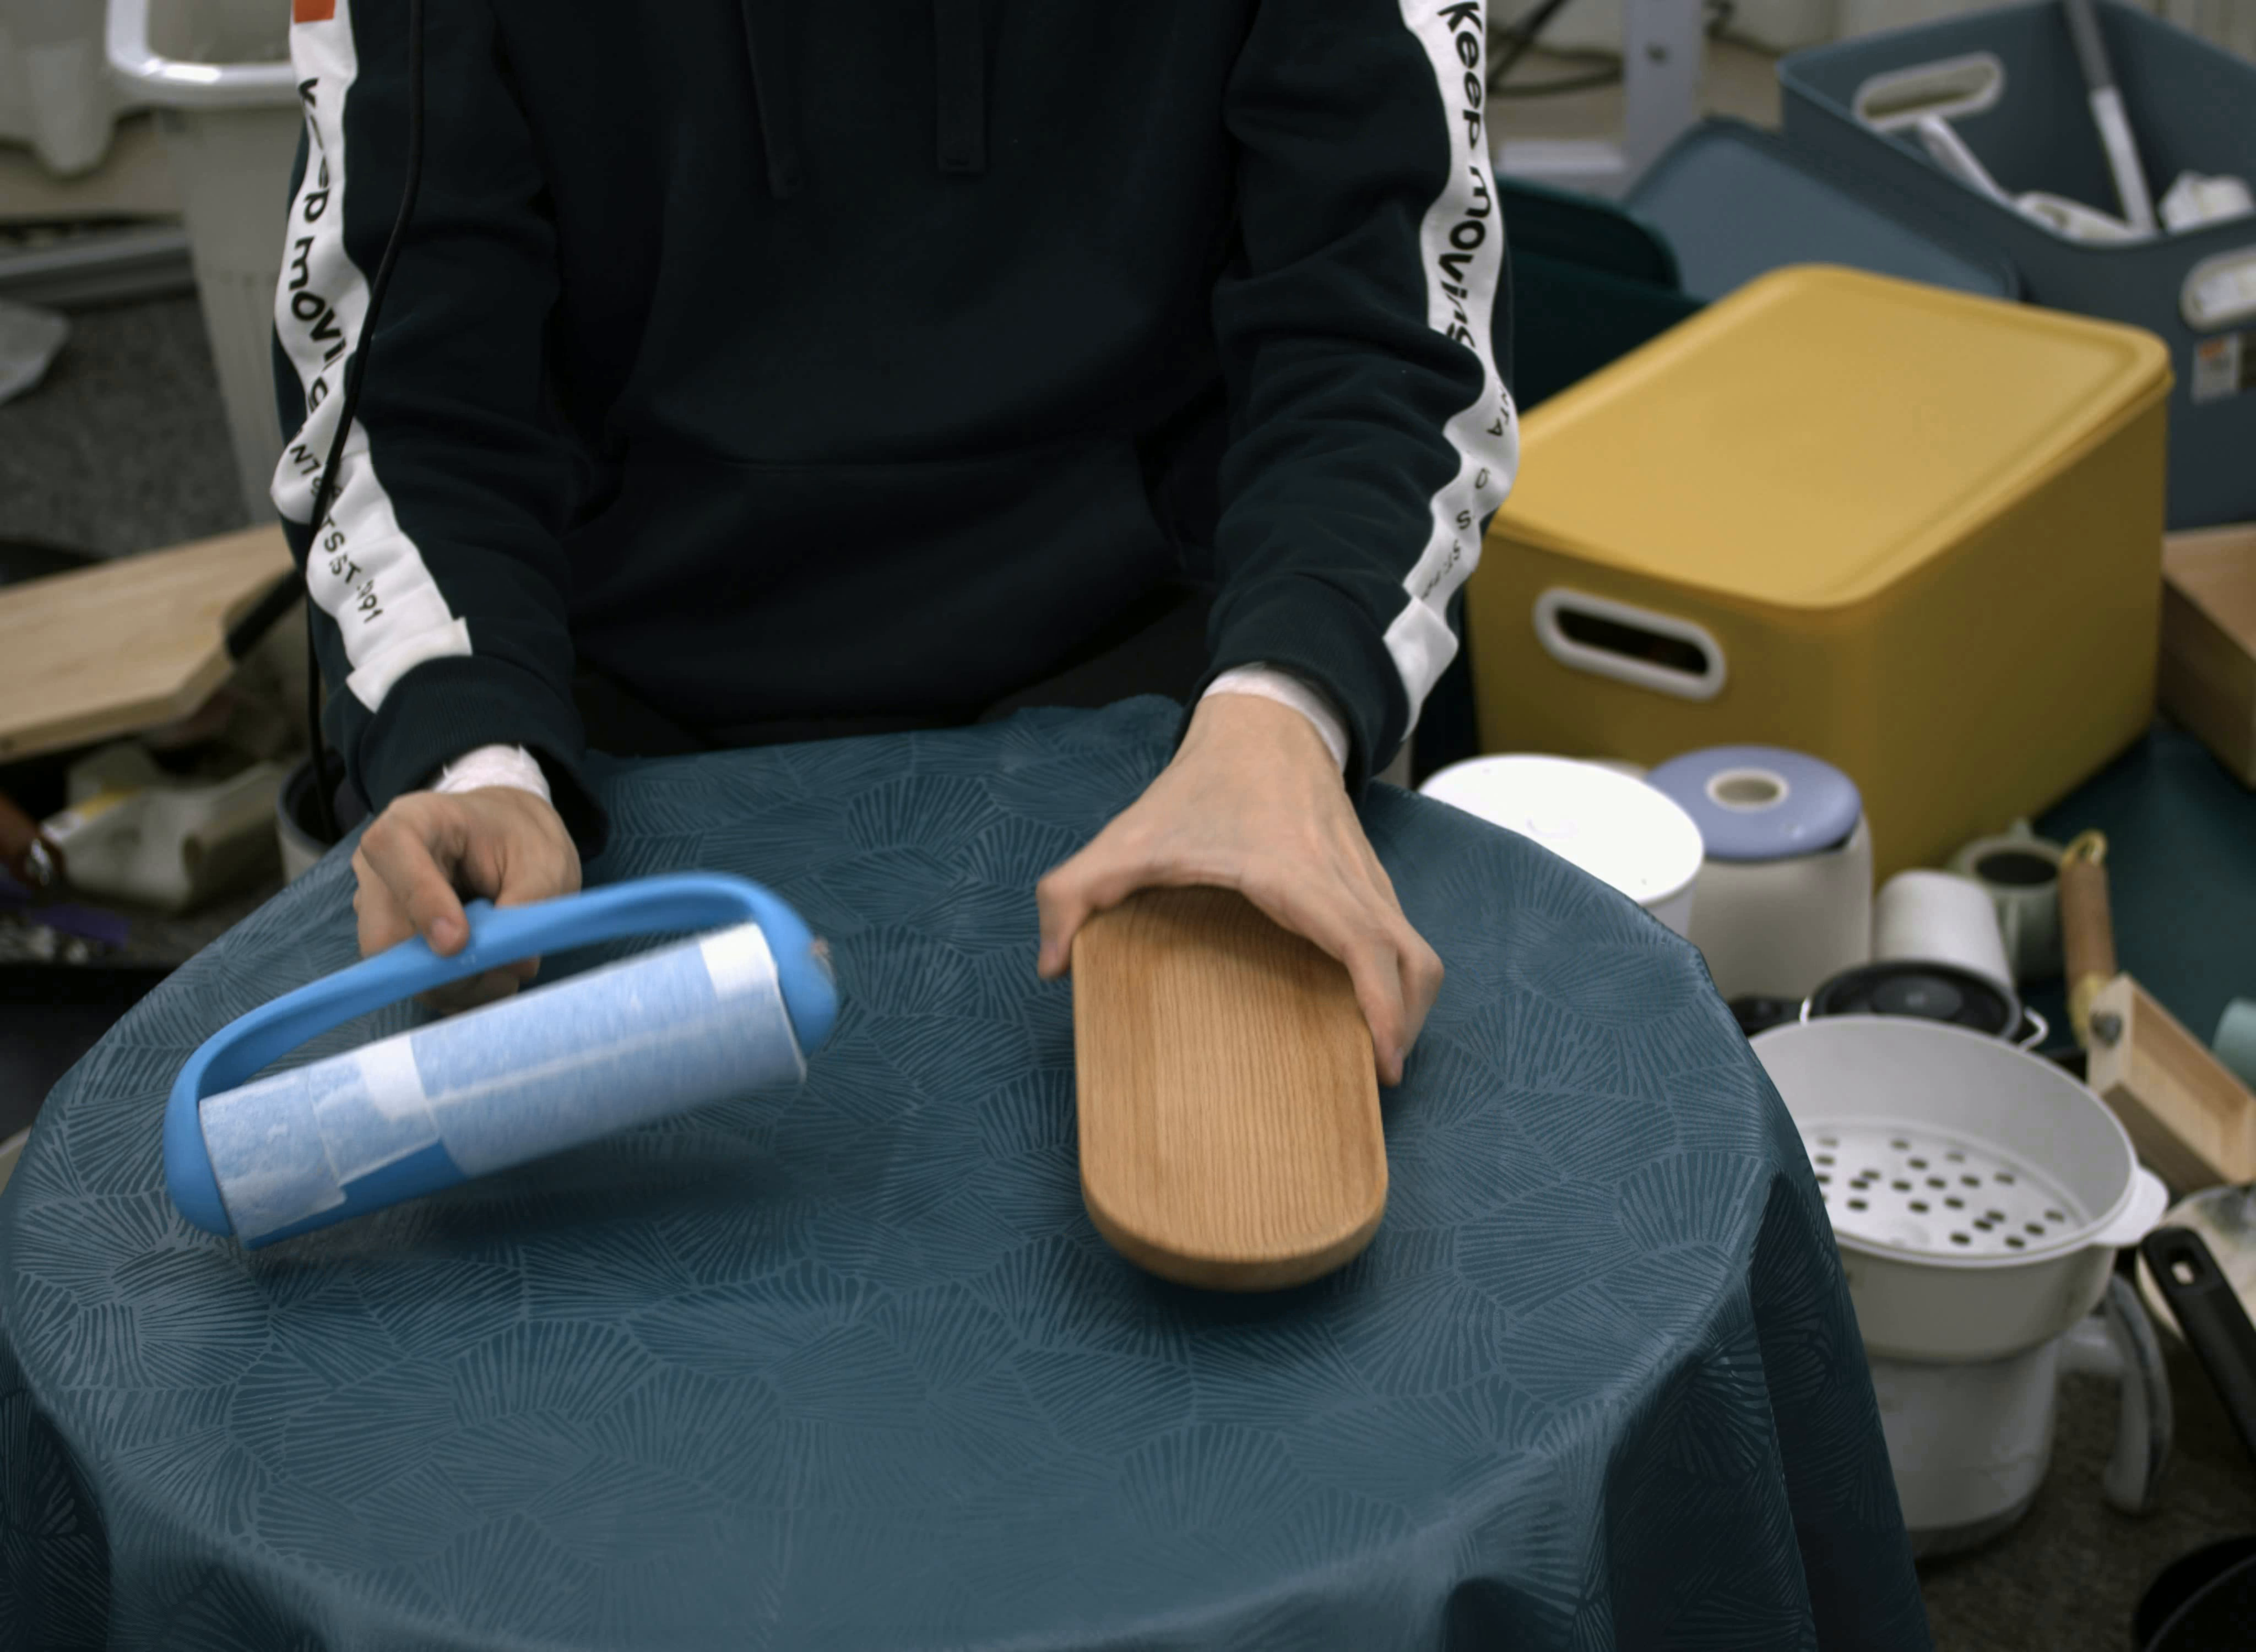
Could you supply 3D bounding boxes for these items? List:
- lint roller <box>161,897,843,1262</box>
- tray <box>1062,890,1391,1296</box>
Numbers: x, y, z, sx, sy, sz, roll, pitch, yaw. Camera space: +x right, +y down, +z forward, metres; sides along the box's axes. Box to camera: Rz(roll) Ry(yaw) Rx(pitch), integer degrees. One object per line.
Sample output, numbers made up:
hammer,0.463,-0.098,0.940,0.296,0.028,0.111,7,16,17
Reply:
lint roller,-0.219,0.066,1.896,0.229,0.067,0.182,-18,27,-7
tray,0.031,0.086,1.869,0.101,0.020,0.234,0,29,-4
